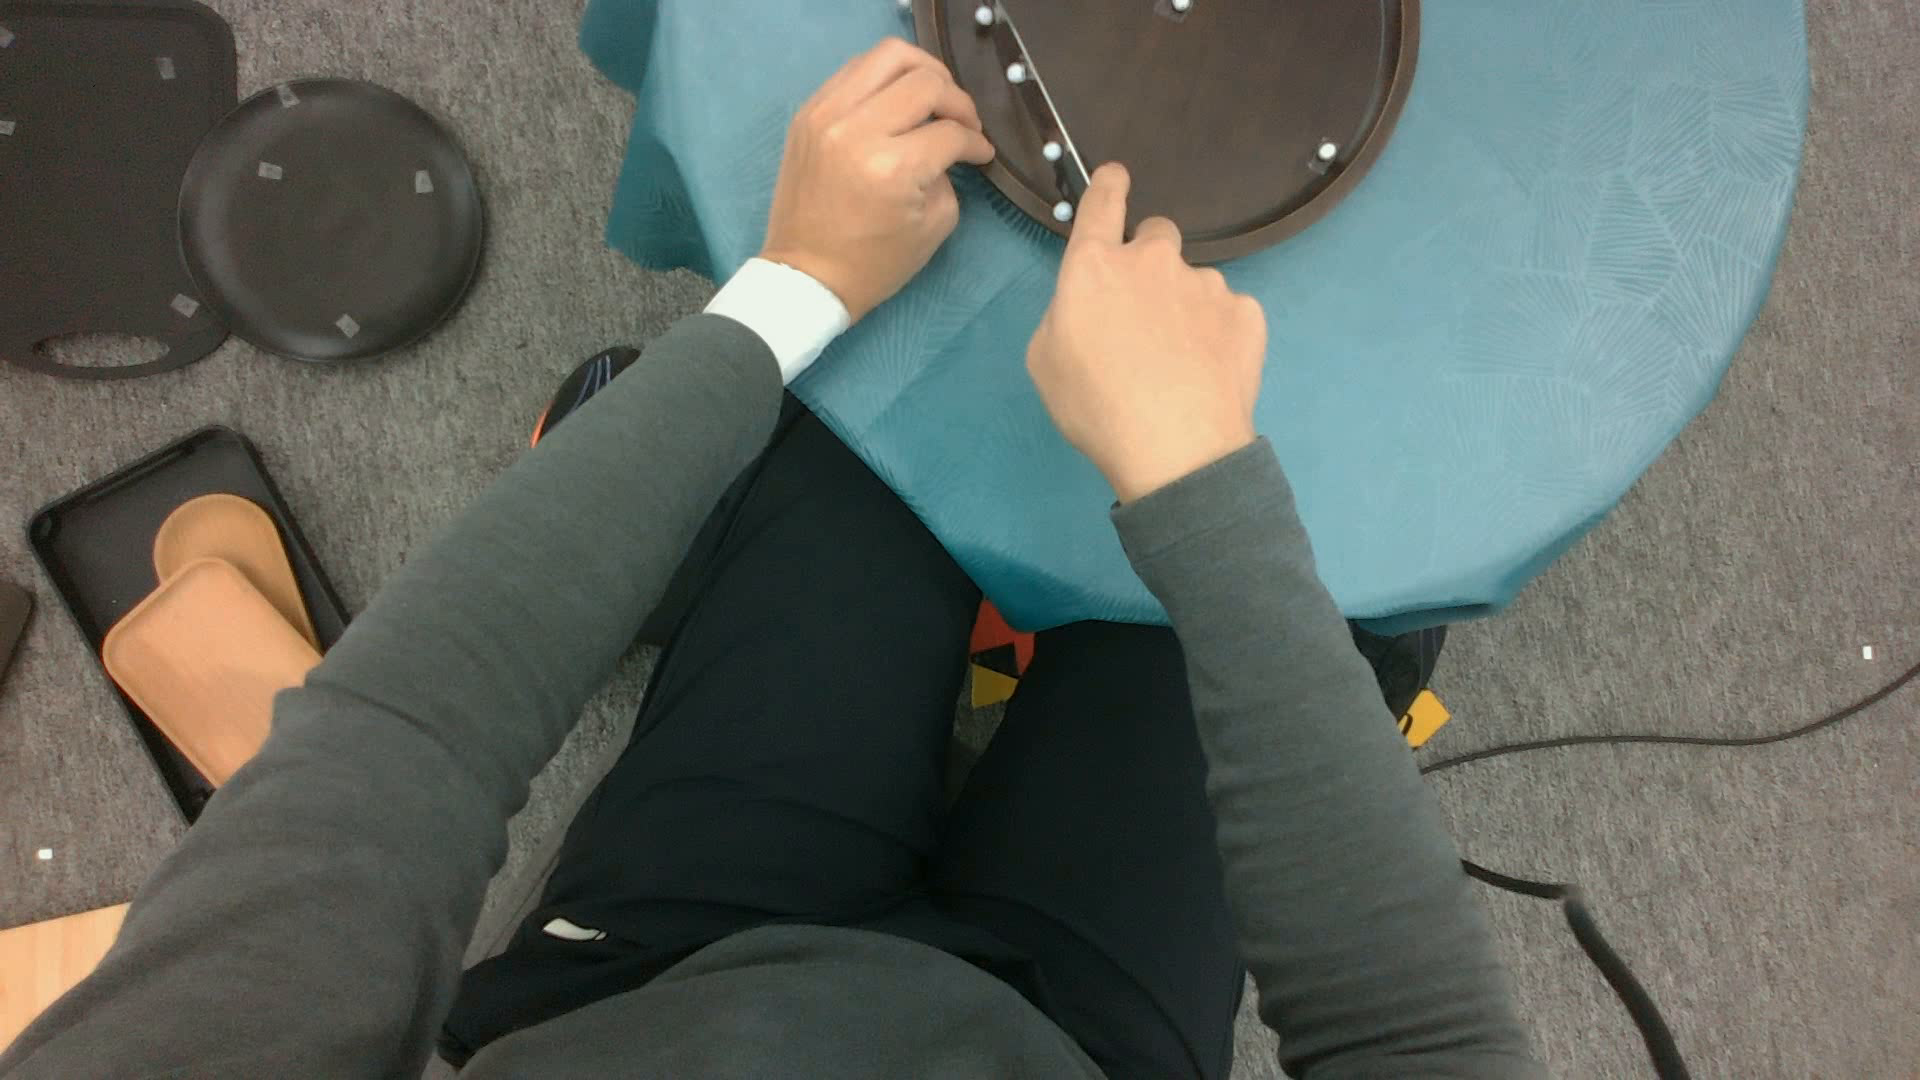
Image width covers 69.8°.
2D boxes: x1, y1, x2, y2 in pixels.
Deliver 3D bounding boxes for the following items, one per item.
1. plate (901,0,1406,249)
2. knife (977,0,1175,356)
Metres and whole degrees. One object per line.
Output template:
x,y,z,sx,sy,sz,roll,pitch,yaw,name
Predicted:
0.097,-0.268,0.681,0.255,0.029,0.255,0,86,-7,plate
0.044,-0.176,0.611,0.016,0.024,0.239,-18,61,-6,knife
